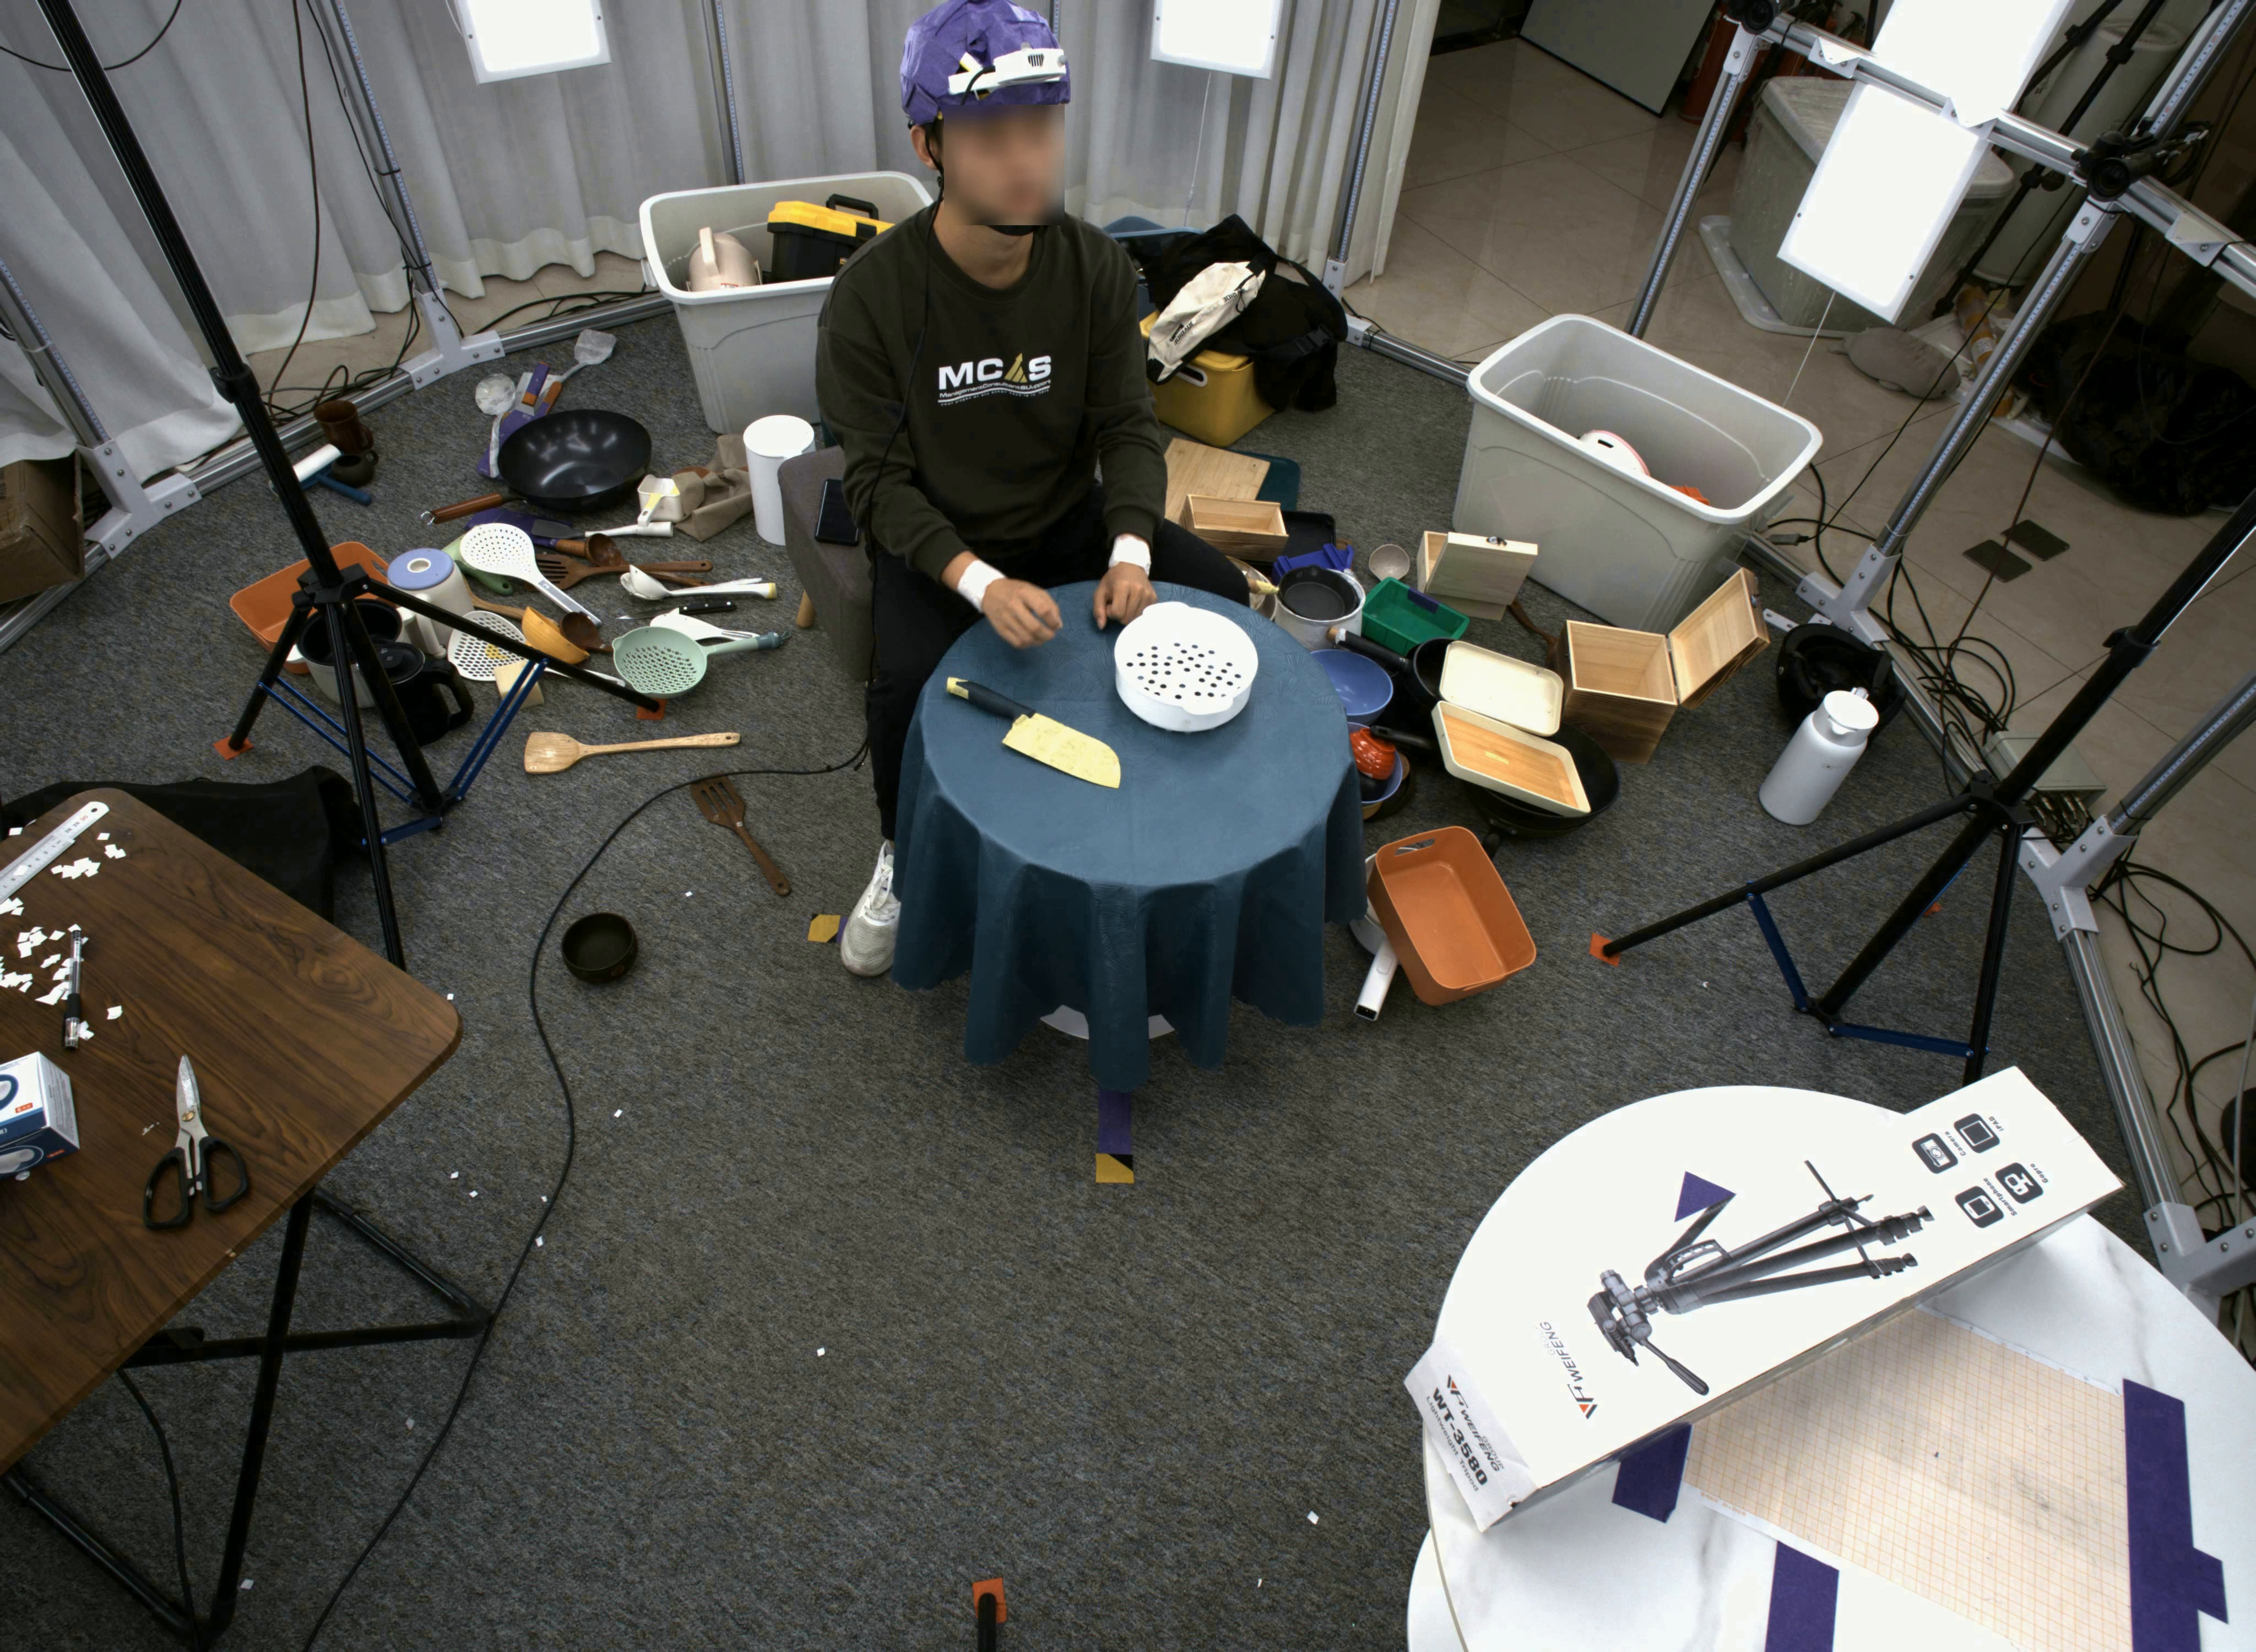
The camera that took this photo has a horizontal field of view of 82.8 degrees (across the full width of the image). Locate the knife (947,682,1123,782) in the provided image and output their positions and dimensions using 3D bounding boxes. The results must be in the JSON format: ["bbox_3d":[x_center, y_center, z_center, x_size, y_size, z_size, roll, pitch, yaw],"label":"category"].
[{"bbox_3d":[-0.133,-0.128,1.760,0.292,0.026,0.082,26,51,17],"label":"knife"}]

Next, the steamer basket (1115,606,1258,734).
[{"bbox_3d":[0.081,-0.217,1.818,0.202,0.067,0.236,-9,49,-13],"label":"steamer basket"}]
